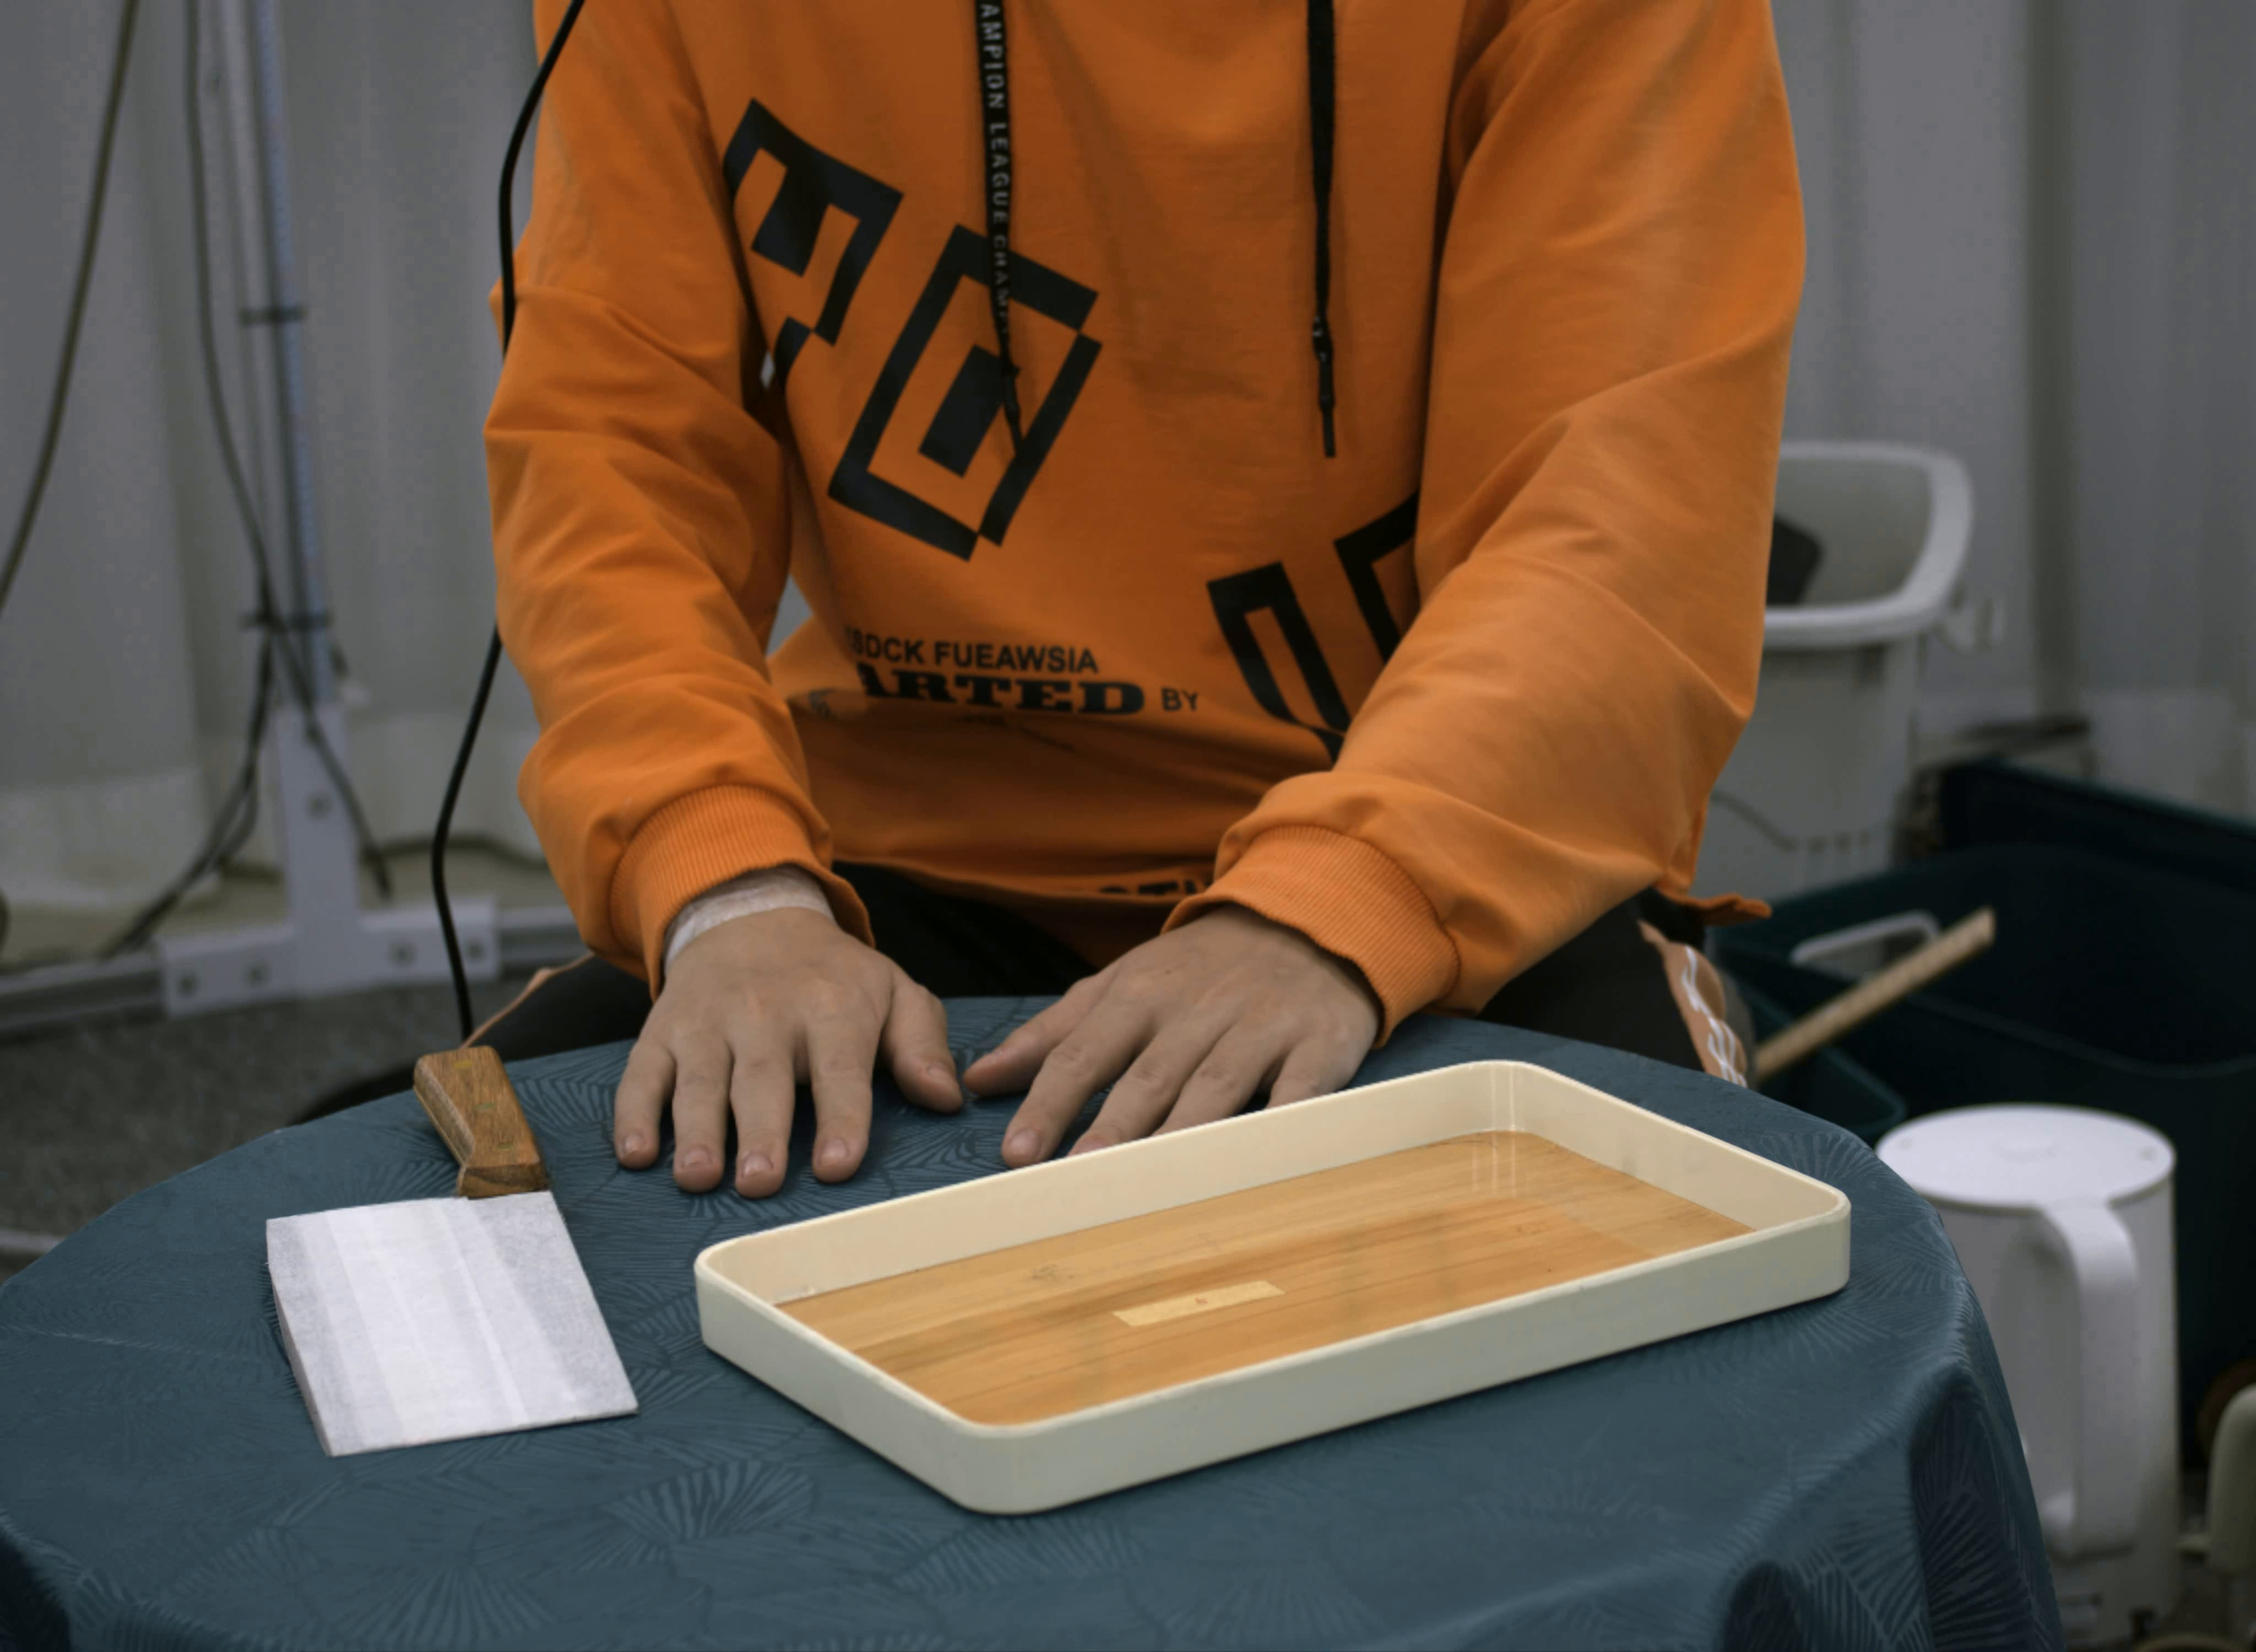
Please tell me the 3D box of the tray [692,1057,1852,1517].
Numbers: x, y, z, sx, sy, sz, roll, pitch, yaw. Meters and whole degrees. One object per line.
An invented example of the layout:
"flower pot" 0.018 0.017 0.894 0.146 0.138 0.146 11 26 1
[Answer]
"tray" 0.043 0.130 1.597 0.299 0.027 0.193 -12 18 -29

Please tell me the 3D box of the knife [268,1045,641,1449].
"knife" -0.215 0.128 1.679 0.092 0.021 0.308 -8 18 -12
